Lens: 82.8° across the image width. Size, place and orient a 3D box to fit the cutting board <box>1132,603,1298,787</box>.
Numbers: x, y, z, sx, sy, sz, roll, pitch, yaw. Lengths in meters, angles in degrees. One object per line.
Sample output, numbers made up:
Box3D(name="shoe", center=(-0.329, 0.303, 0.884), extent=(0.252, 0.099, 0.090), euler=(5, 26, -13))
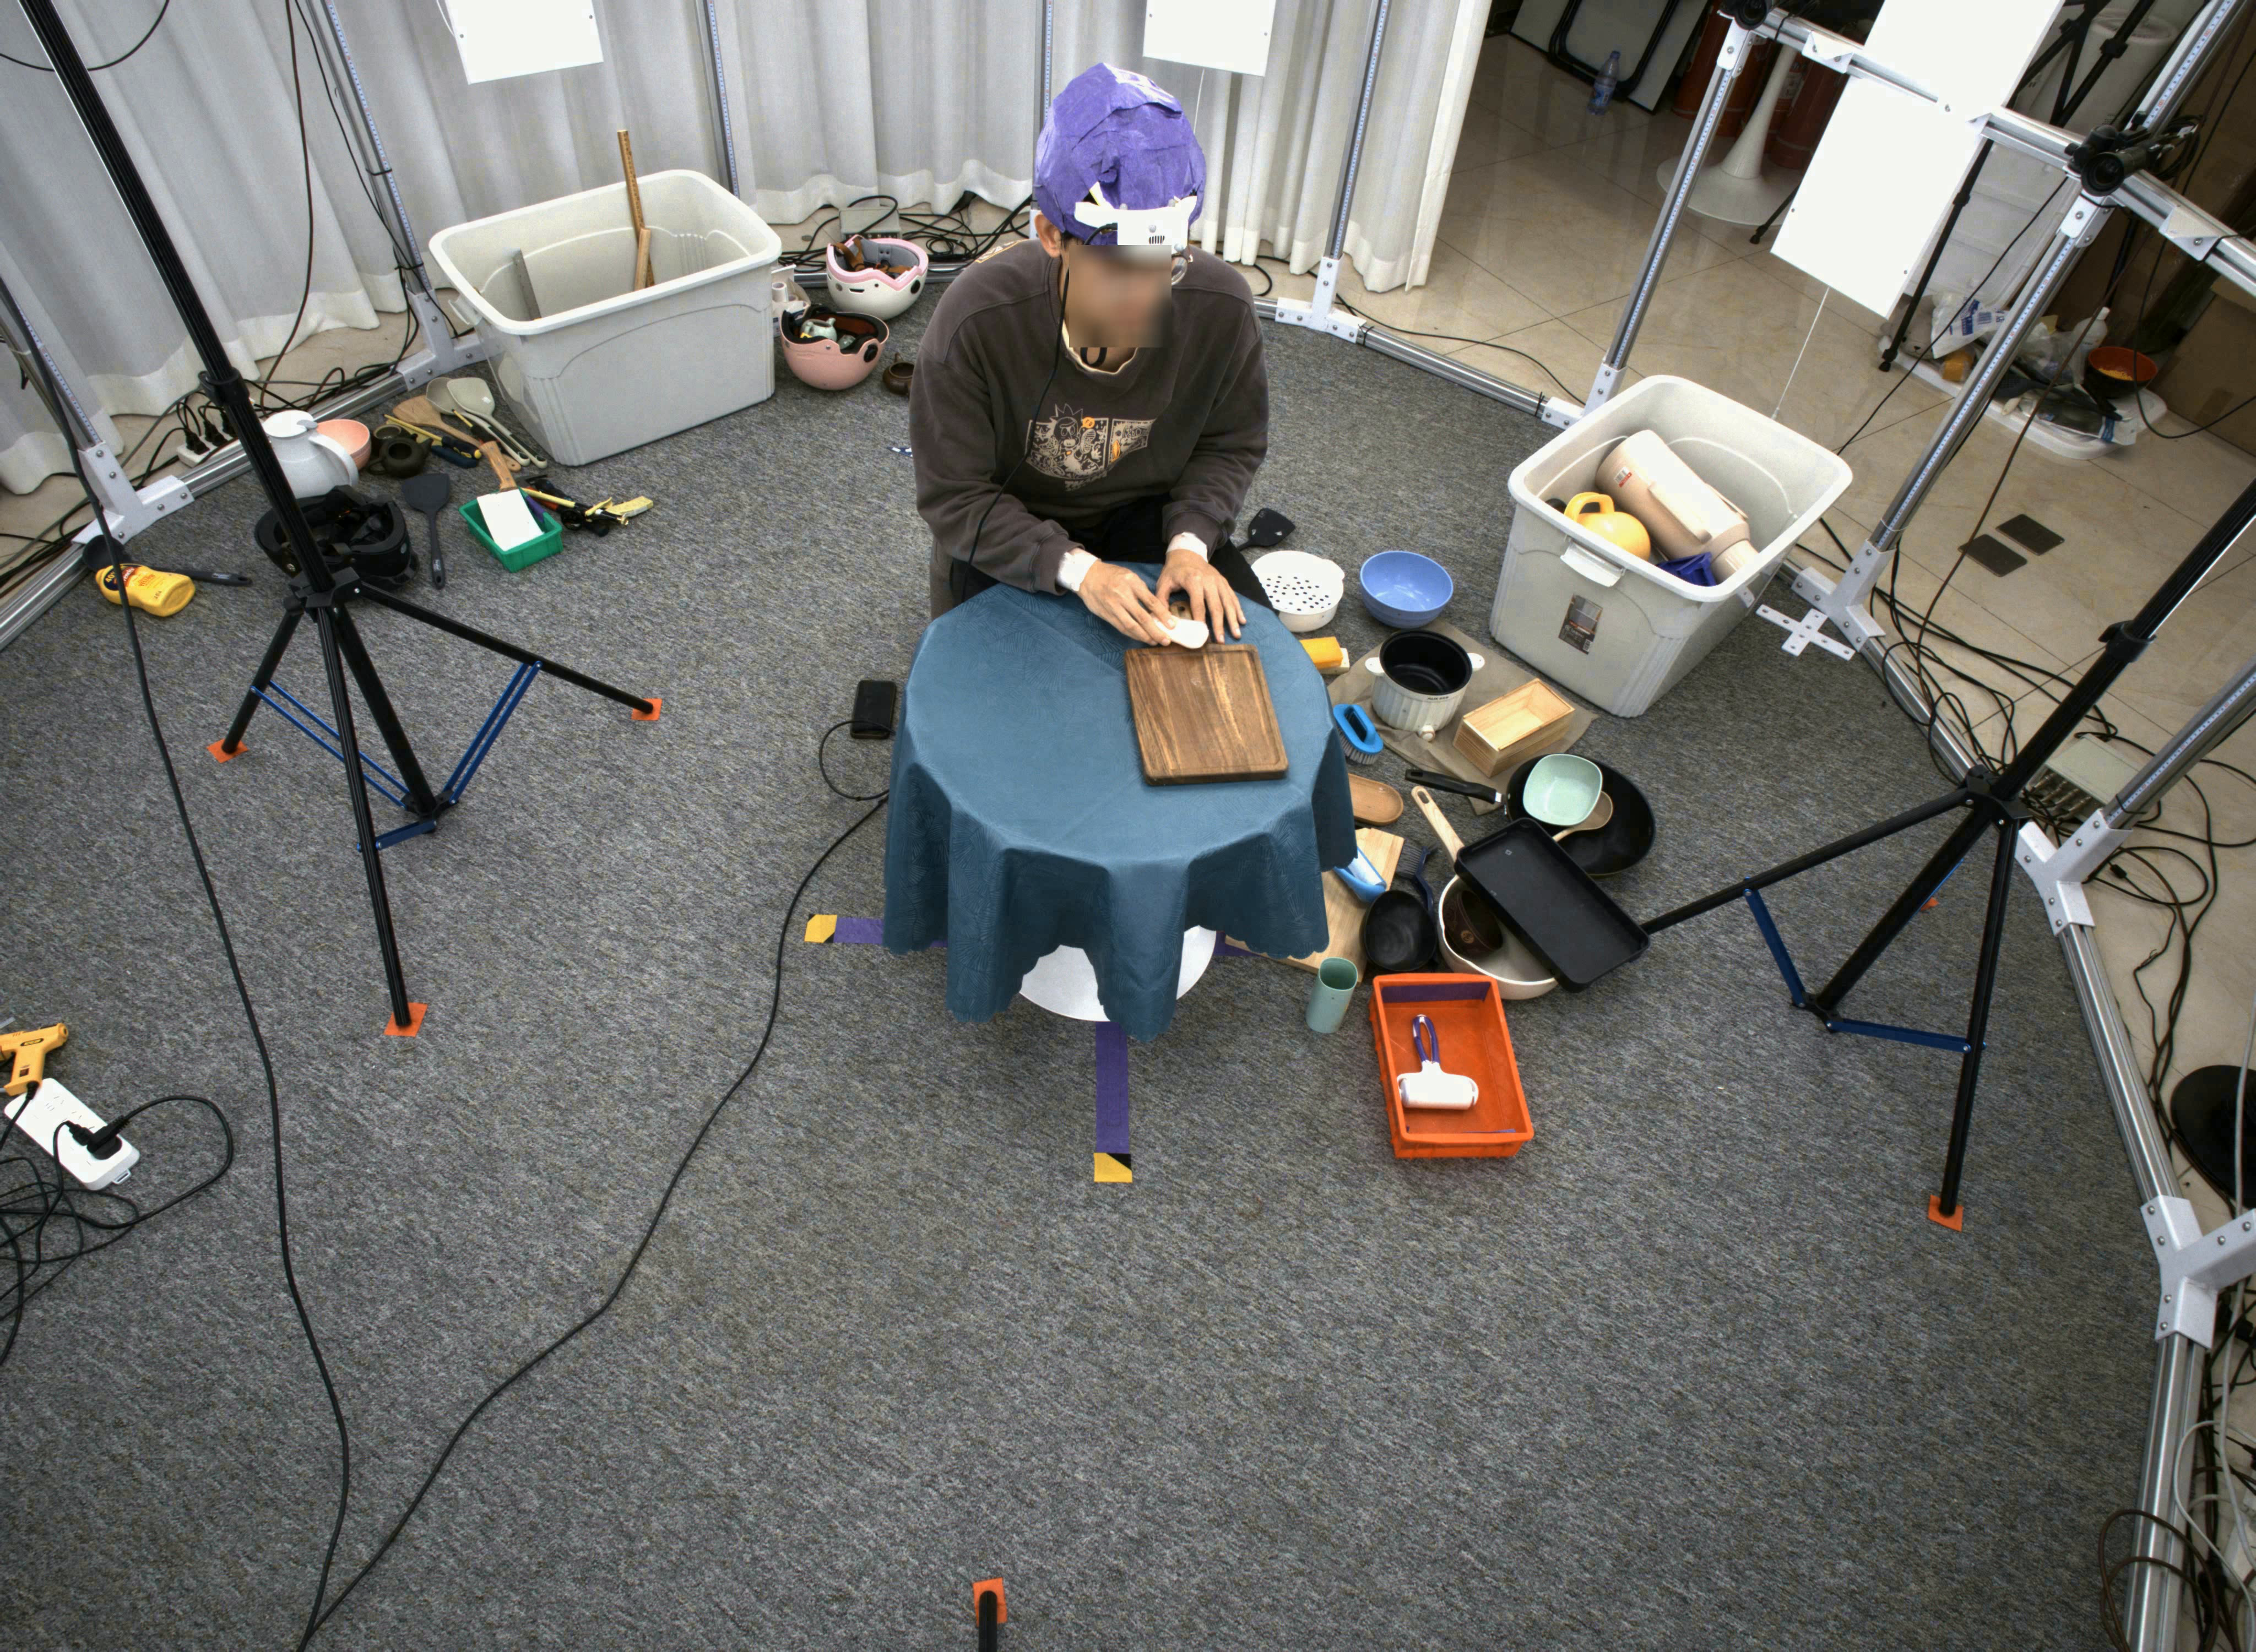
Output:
Box3D(name="cutting board", center=(0.113, -0.197, 1.830), extent=(0.201, 0.022, 0.361), euler=(-3, 49, -6))

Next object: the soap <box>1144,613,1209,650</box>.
Box3D(name="soap", center=(0.071, -0.284, 1.875), extent=(0.095, 0.029, 0.051), euler=(17, 49, 14))
